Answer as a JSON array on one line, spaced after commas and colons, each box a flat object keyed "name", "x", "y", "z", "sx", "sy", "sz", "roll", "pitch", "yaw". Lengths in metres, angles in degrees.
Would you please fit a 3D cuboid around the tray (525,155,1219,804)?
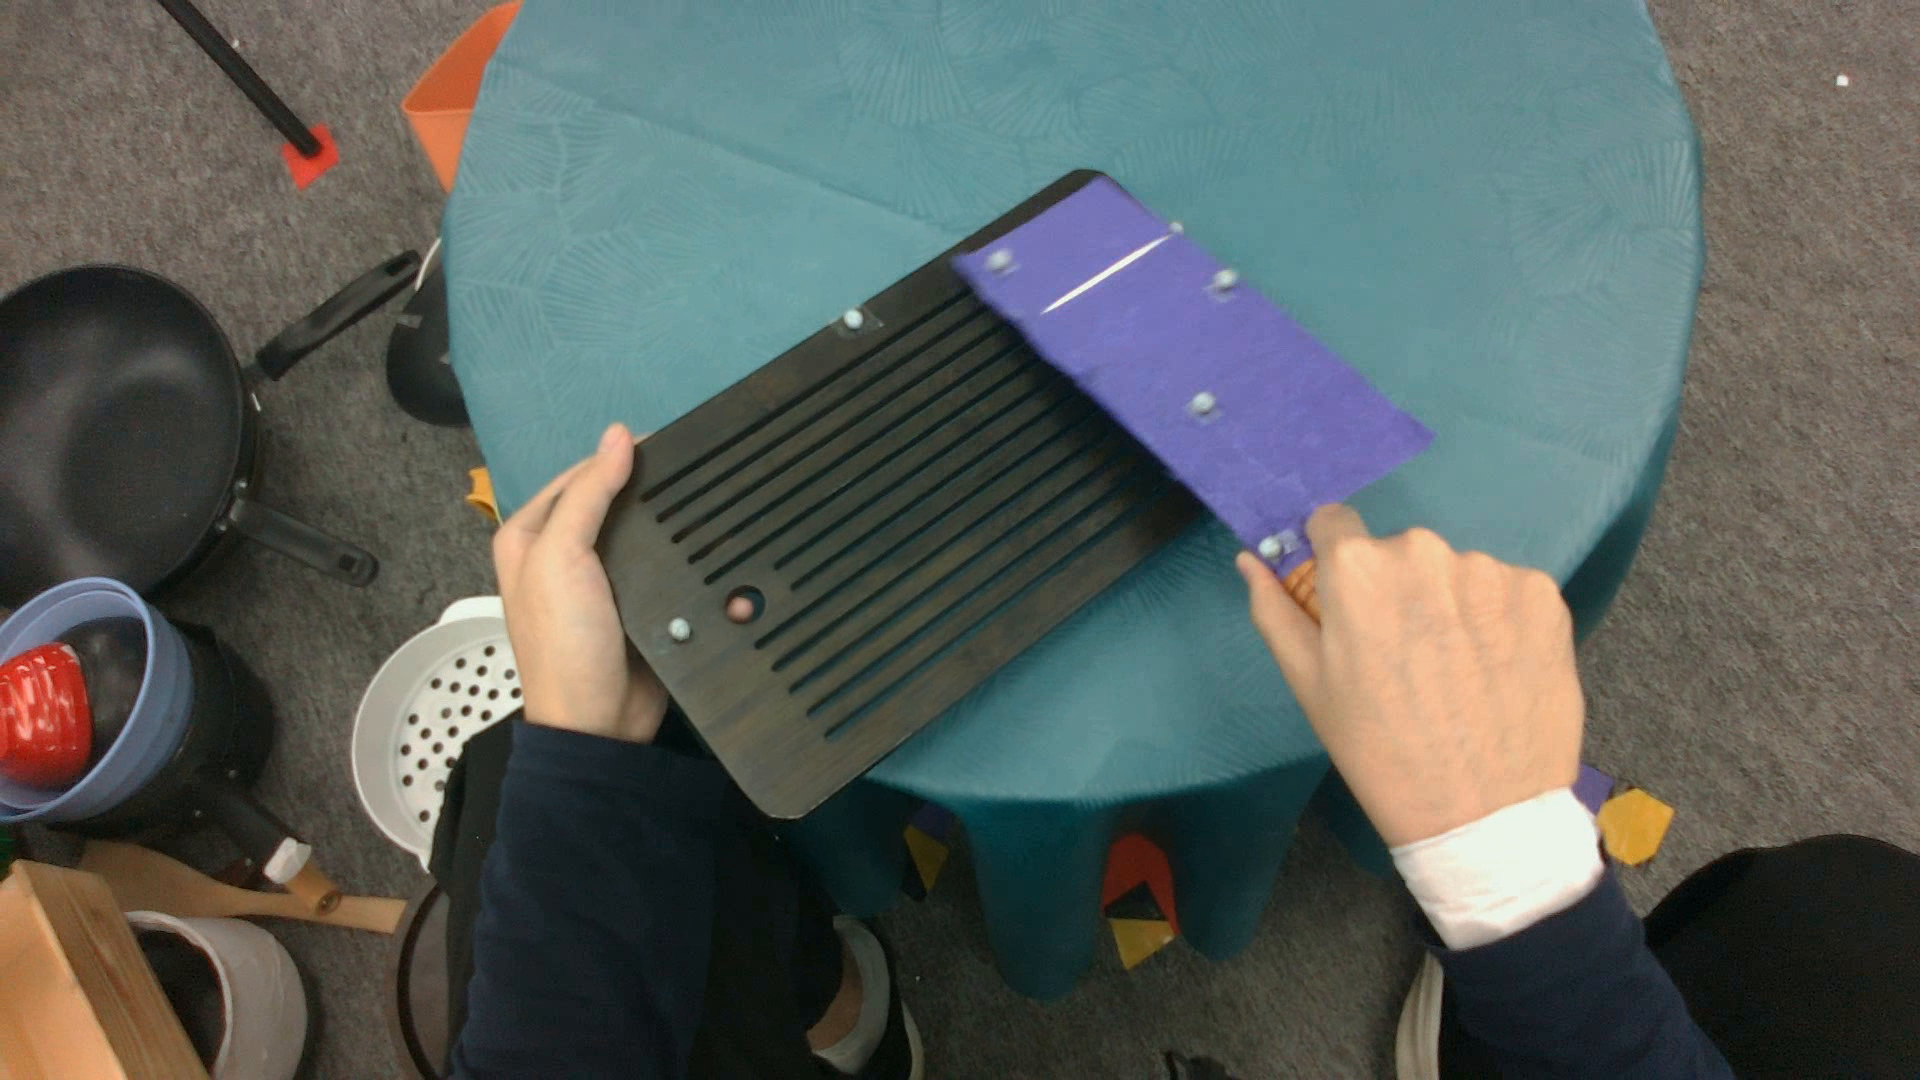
[{"name": "tray", "x": -0.013, "y": -0.040, "z": 0.589, "sx": 0.307, "sy": 0.018, "sz": 0.170, "roll": -36, "pitch": 73, "yaw": -19}]

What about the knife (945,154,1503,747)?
[{"name": "knife", "x": 0.116, "y": -0.060, "z": 0.549, "sx": 0.104, "sy": 0.032, "sz": 0.316, "roll": -31, "pitch": 59, "yaw": -11}]
